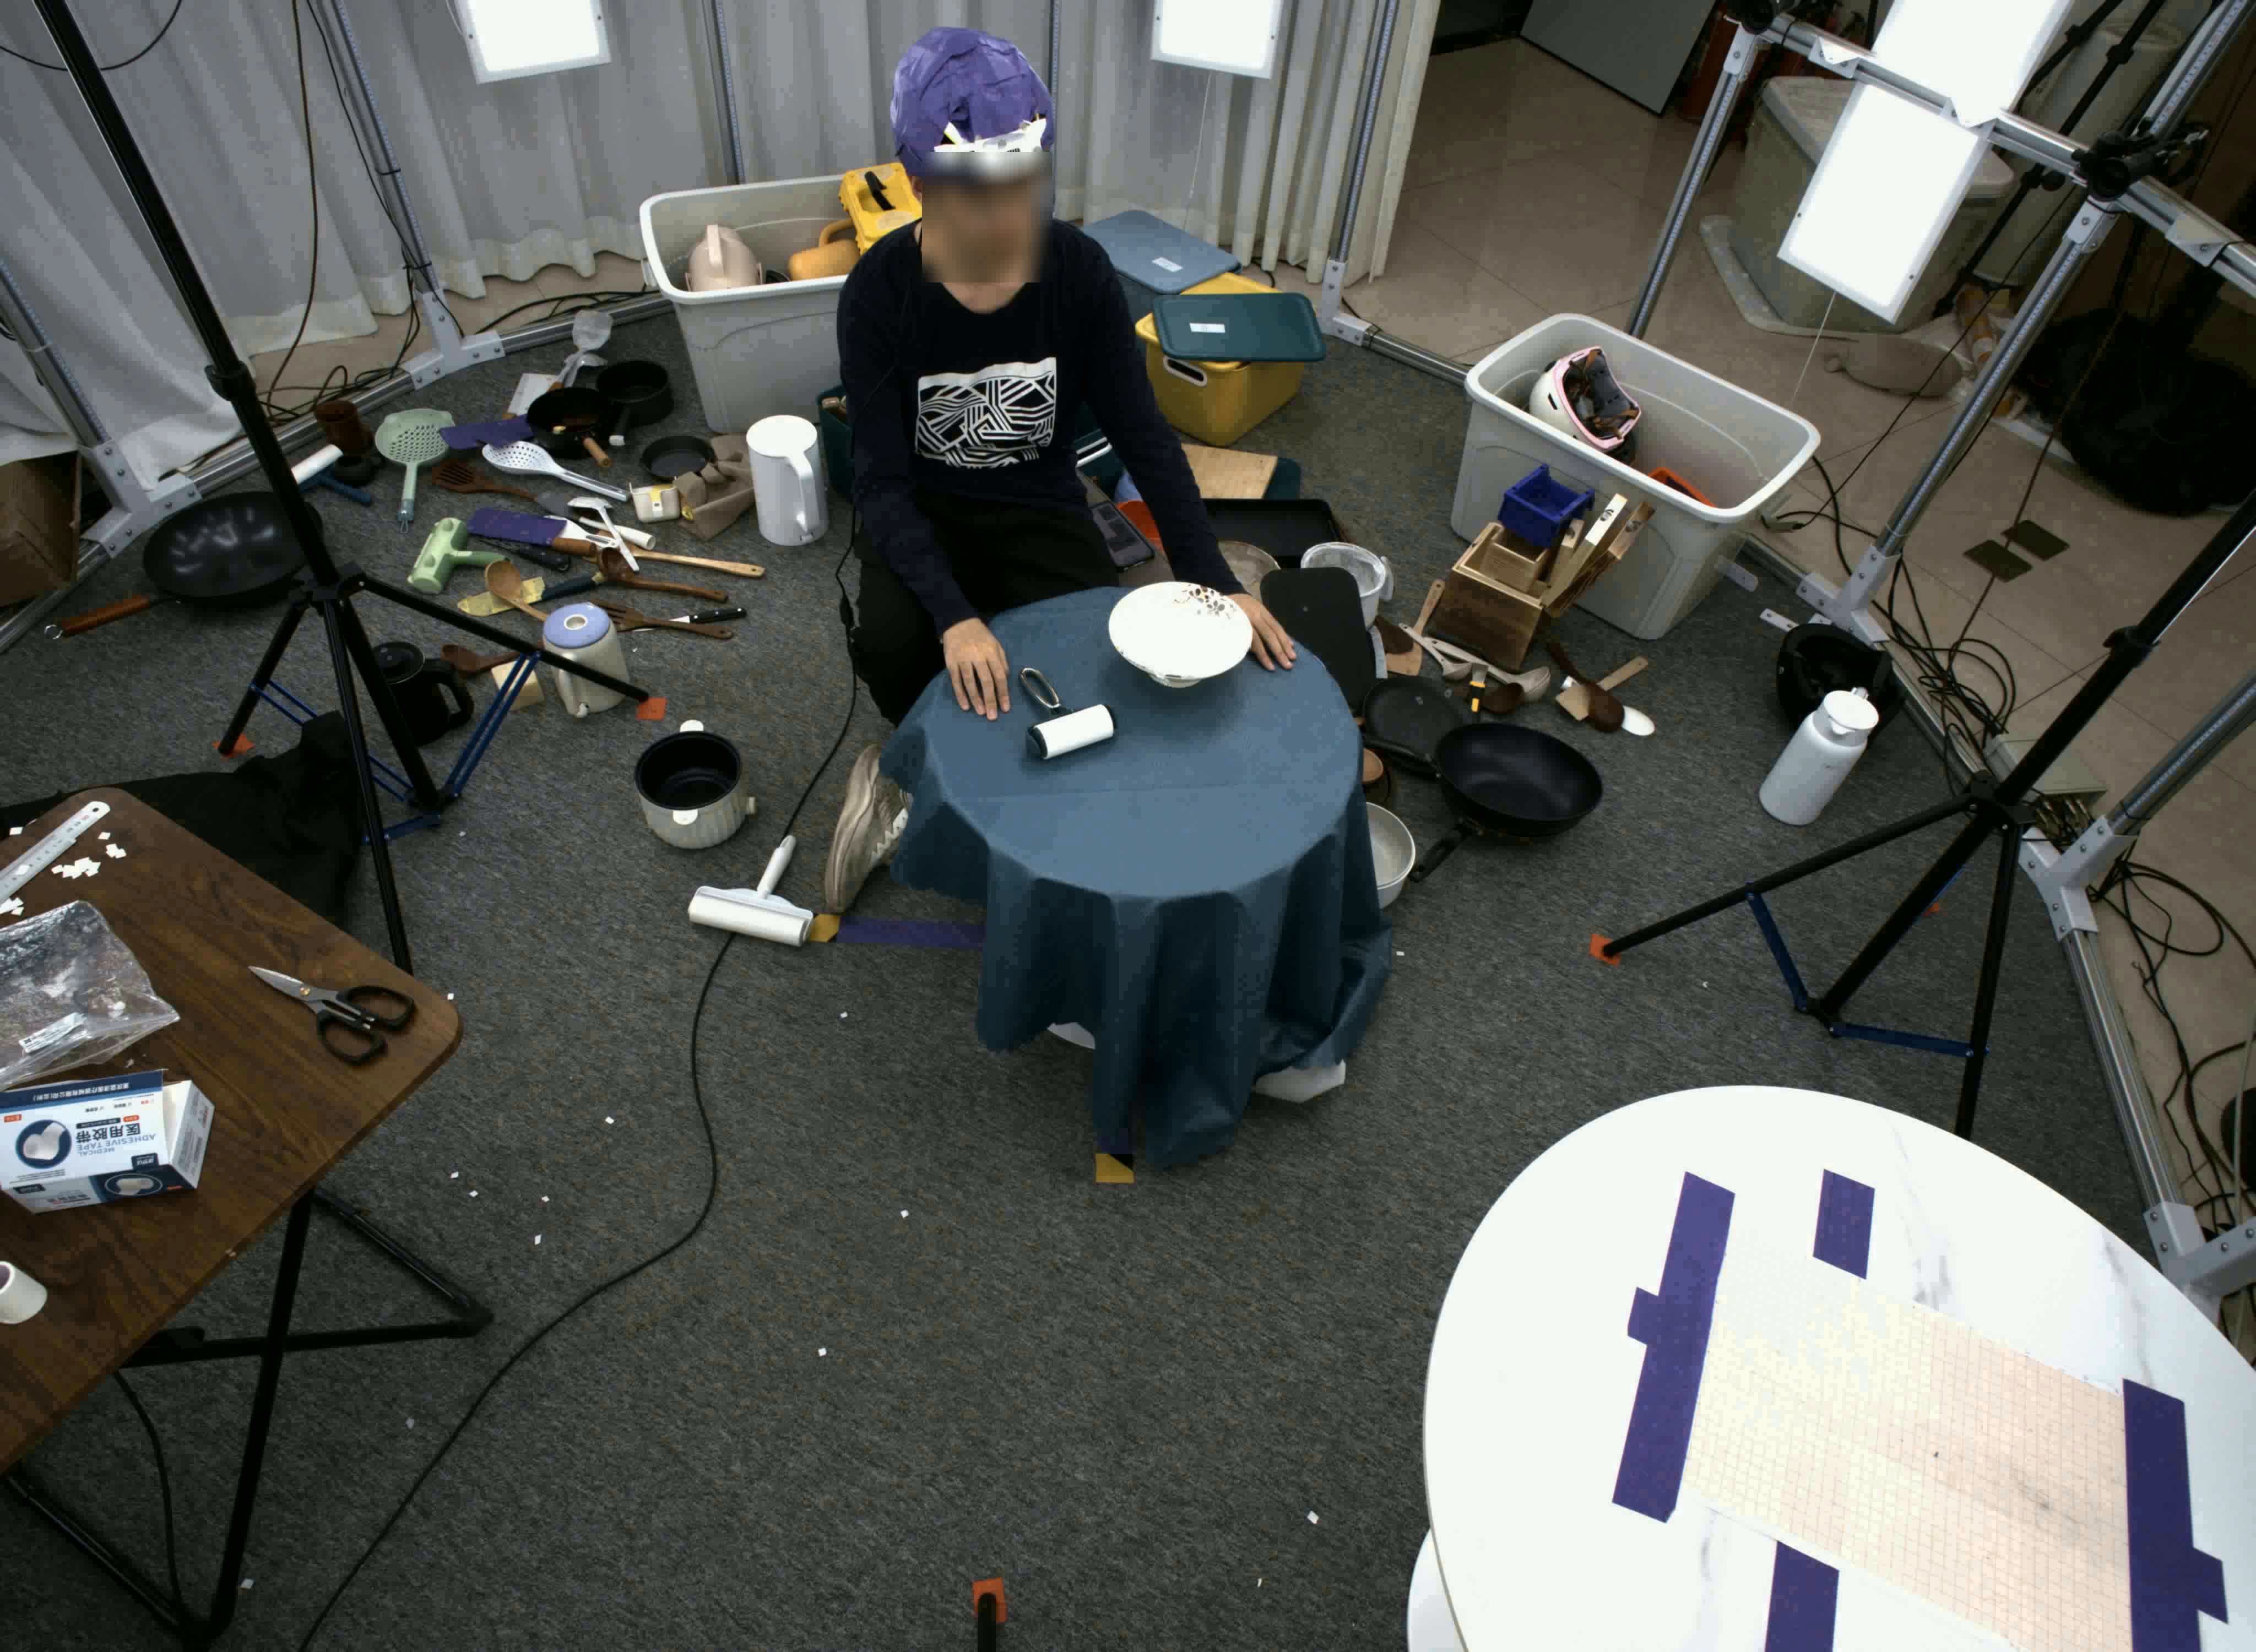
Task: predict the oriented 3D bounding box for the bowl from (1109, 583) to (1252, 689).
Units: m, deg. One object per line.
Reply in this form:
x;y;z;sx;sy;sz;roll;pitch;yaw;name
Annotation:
0.072;-0.255;1.844;0.204;0.076;0.209;2;48;-3;bowl

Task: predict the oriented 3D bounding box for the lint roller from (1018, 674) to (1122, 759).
-0.107;-0.173;1.784;0.134;0.047;0.184;-20;50;-20;lint roller
